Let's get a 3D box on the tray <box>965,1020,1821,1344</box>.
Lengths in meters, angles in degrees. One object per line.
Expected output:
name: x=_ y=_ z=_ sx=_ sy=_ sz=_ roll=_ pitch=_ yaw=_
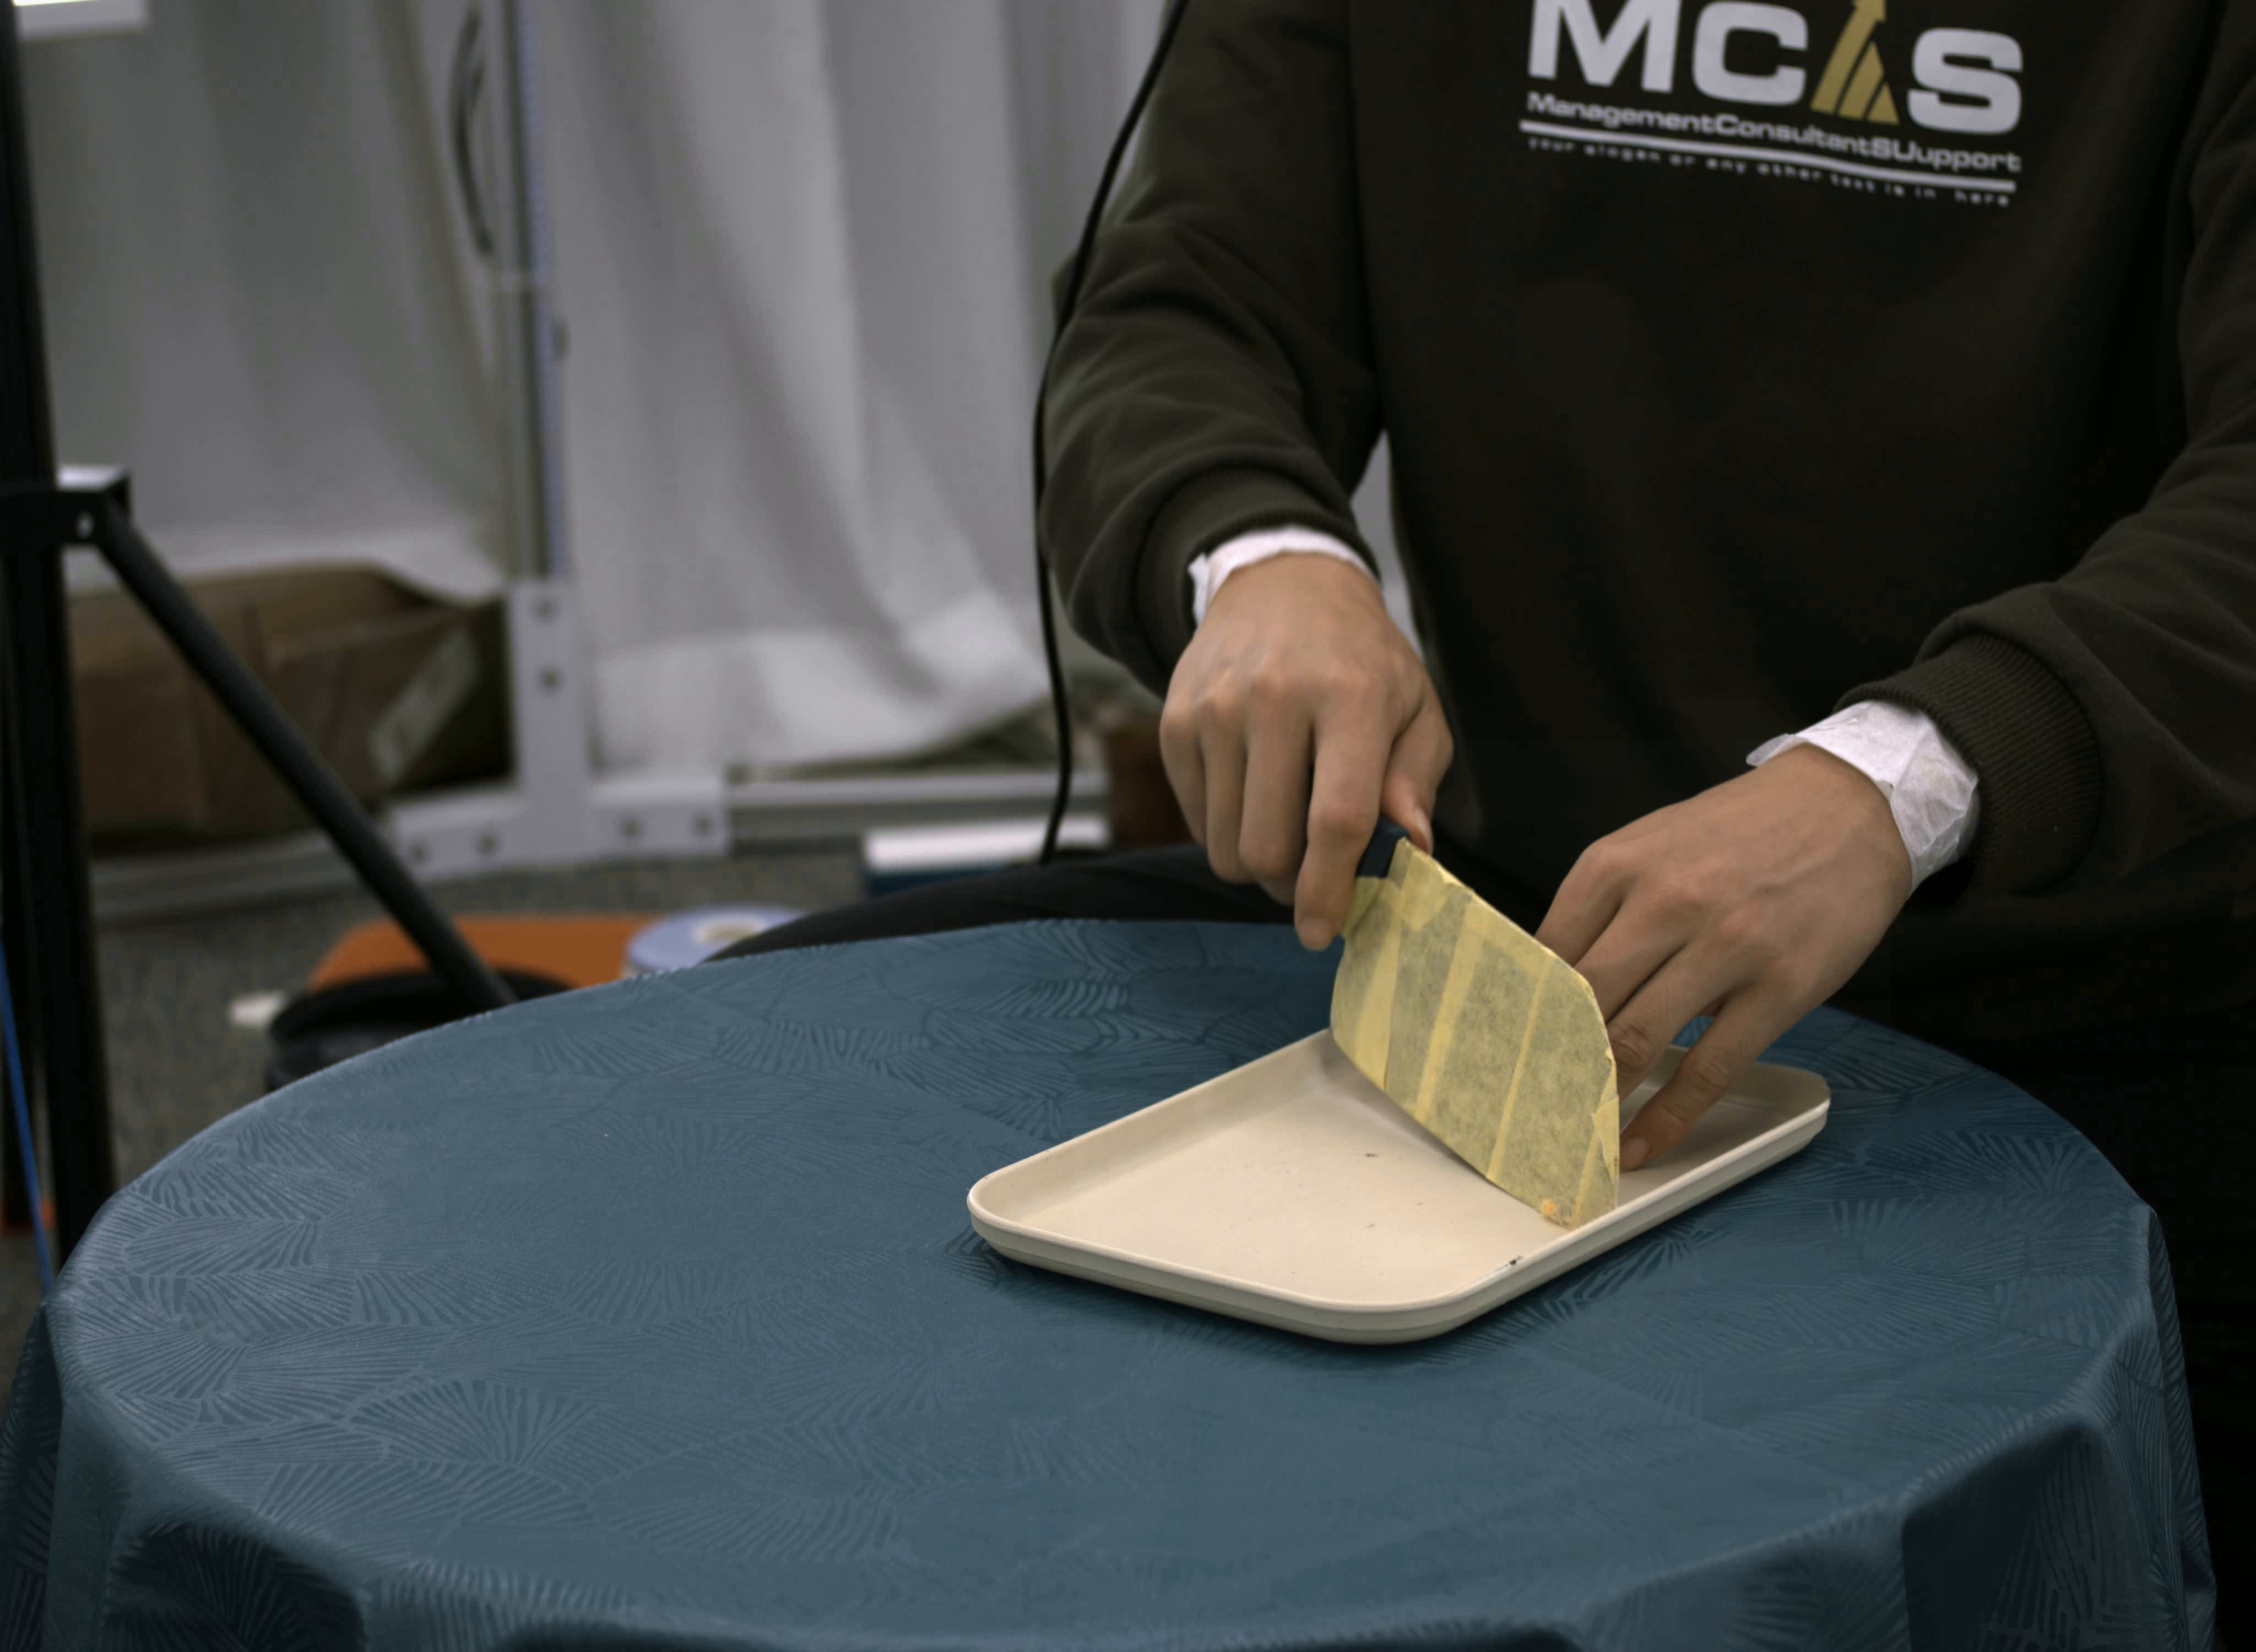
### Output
tray: x=0.080 y=0.100 z=1.545 sx=0.175 sy=0.017 sz=0.234 roll=10 pitch=20 yaw=38

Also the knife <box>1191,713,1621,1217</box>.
knife: x=0.081 y=0.037 z=1.608 sx=0.026 sy=0.081 sz=0.295 roll=9 pitch=20 yaw=-28
